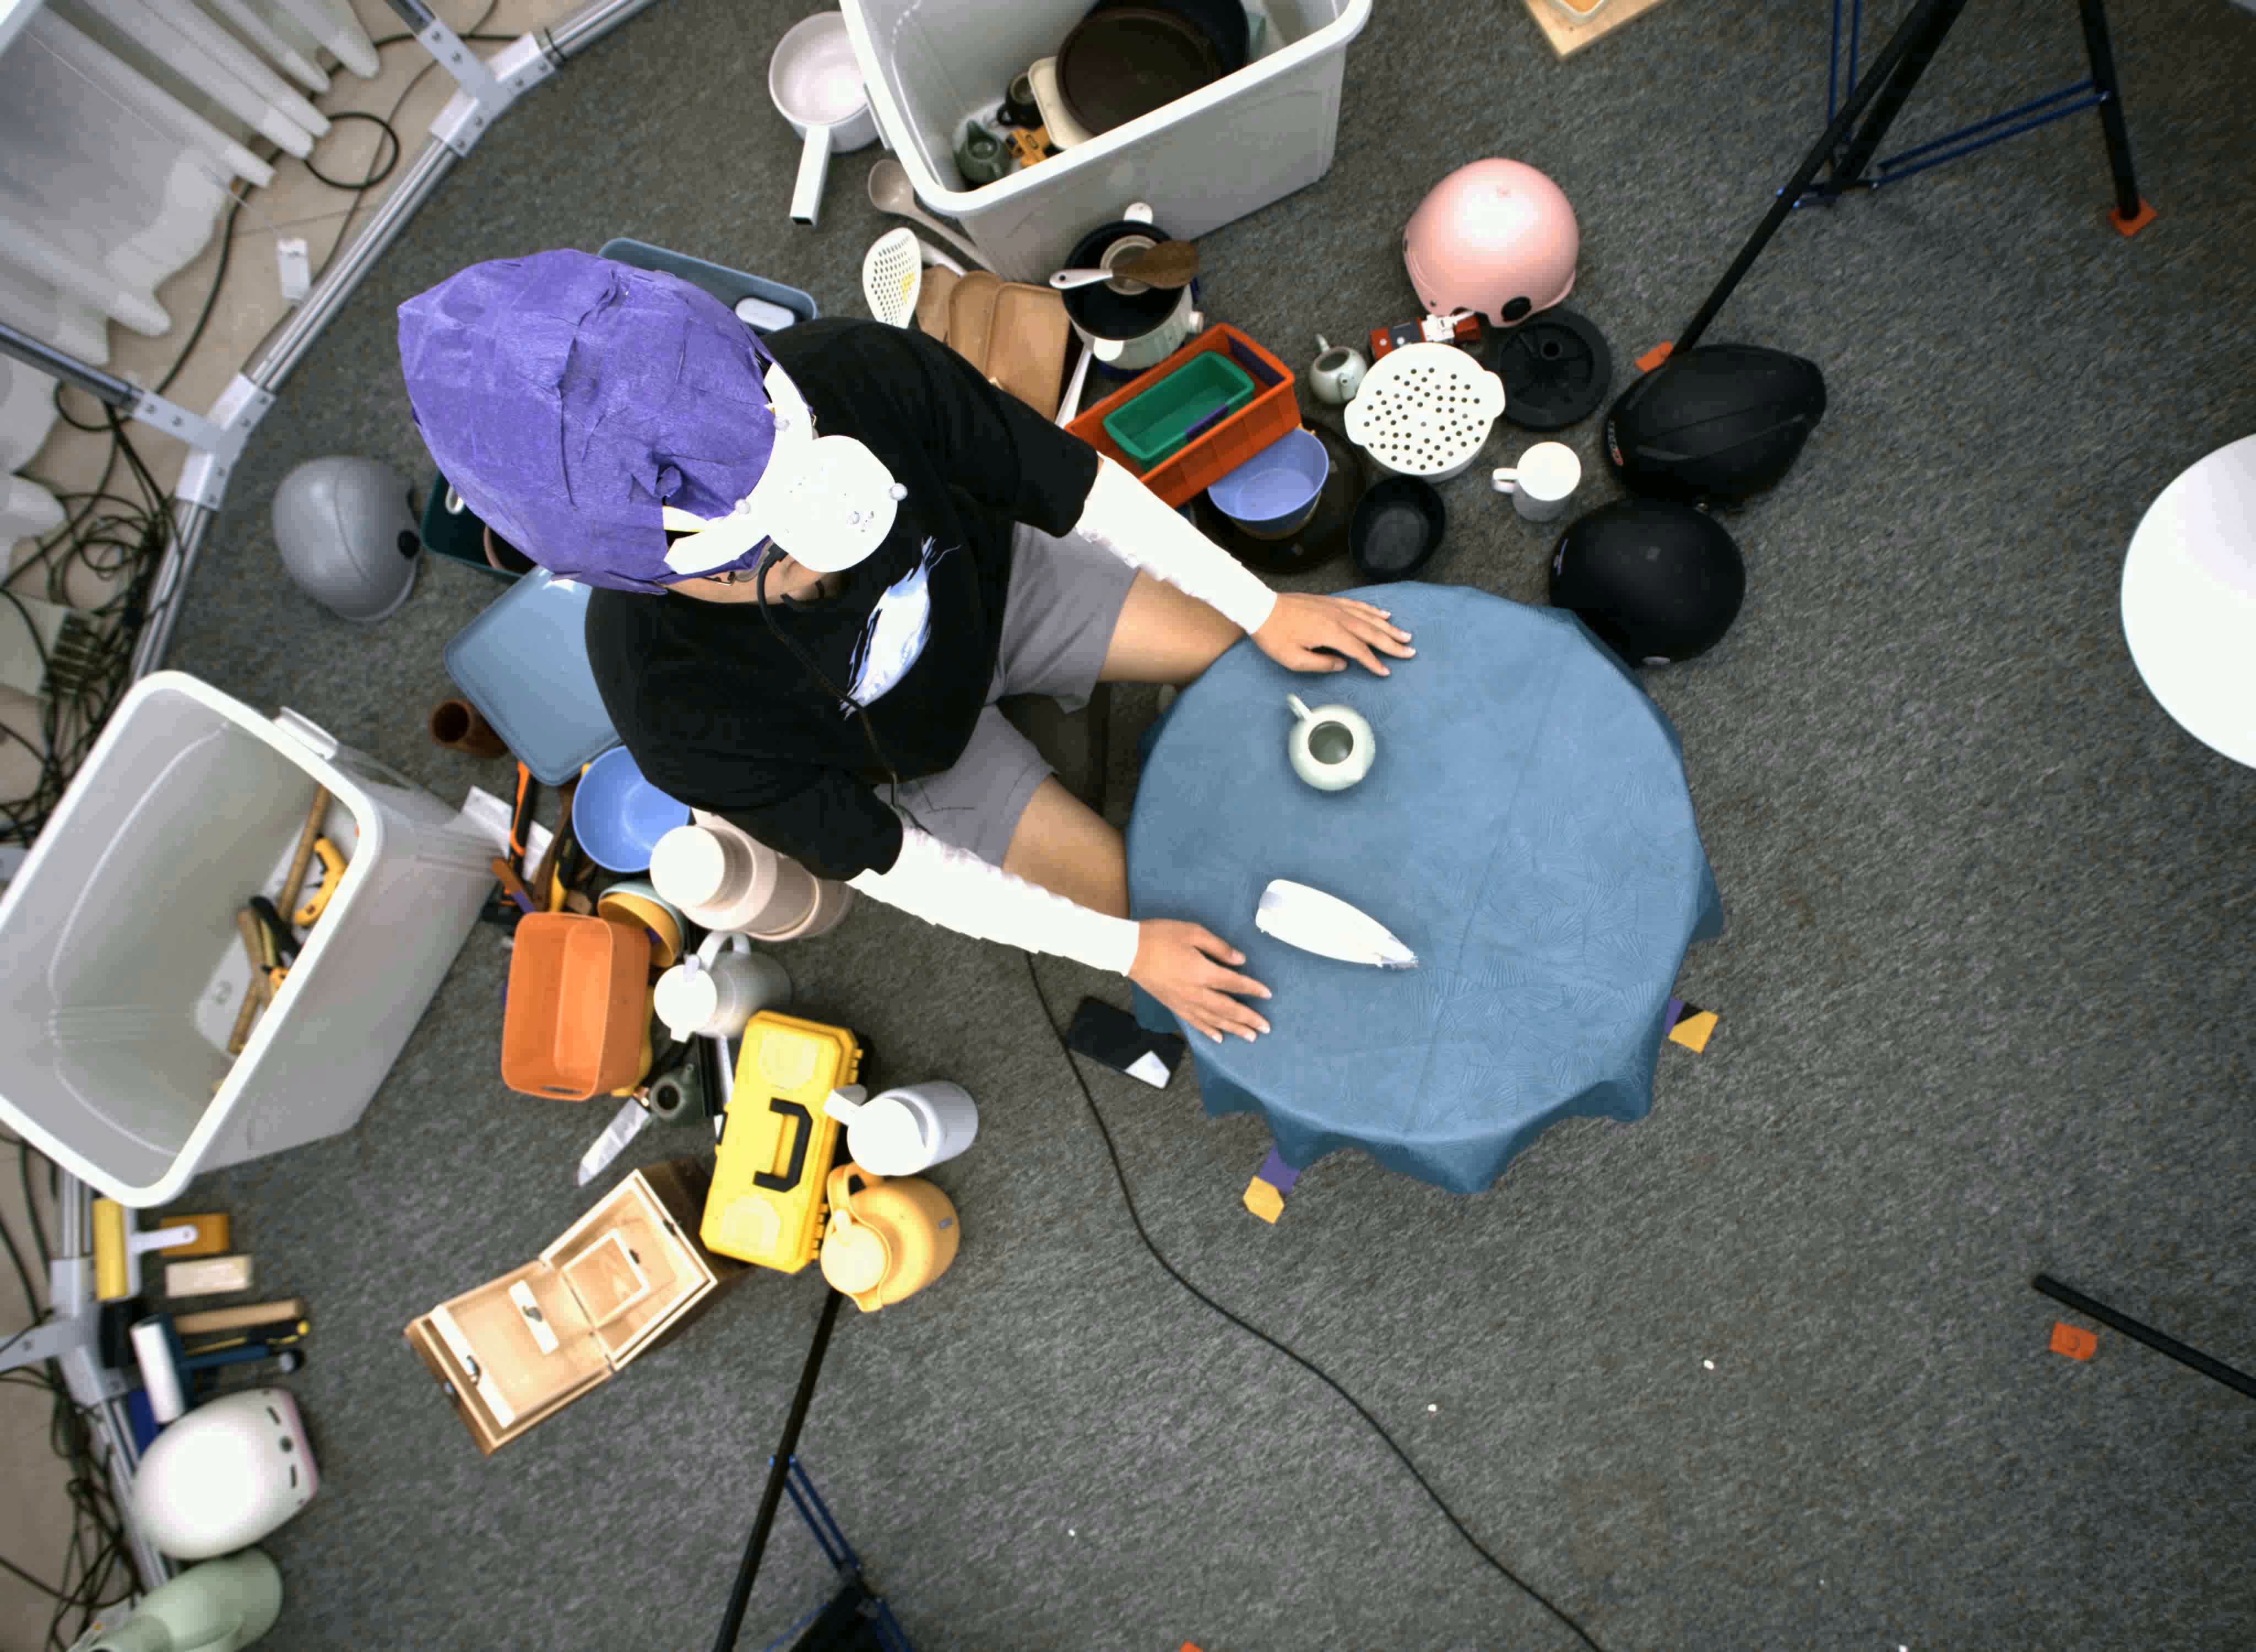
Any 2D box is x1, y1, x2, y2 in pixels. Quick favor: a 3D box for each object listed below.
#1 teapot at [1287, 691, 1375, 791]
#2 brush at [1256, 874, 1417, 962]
[{"bbox_3d":[0.208,-0.092,1.449,0.092,0.061,0.128,-36,81,8],"label":"teapot"},{"bbox_3d":[0.215,0.102,1.421,0.175,0.094,0.061,22,93,10],"label":"brush"}]
